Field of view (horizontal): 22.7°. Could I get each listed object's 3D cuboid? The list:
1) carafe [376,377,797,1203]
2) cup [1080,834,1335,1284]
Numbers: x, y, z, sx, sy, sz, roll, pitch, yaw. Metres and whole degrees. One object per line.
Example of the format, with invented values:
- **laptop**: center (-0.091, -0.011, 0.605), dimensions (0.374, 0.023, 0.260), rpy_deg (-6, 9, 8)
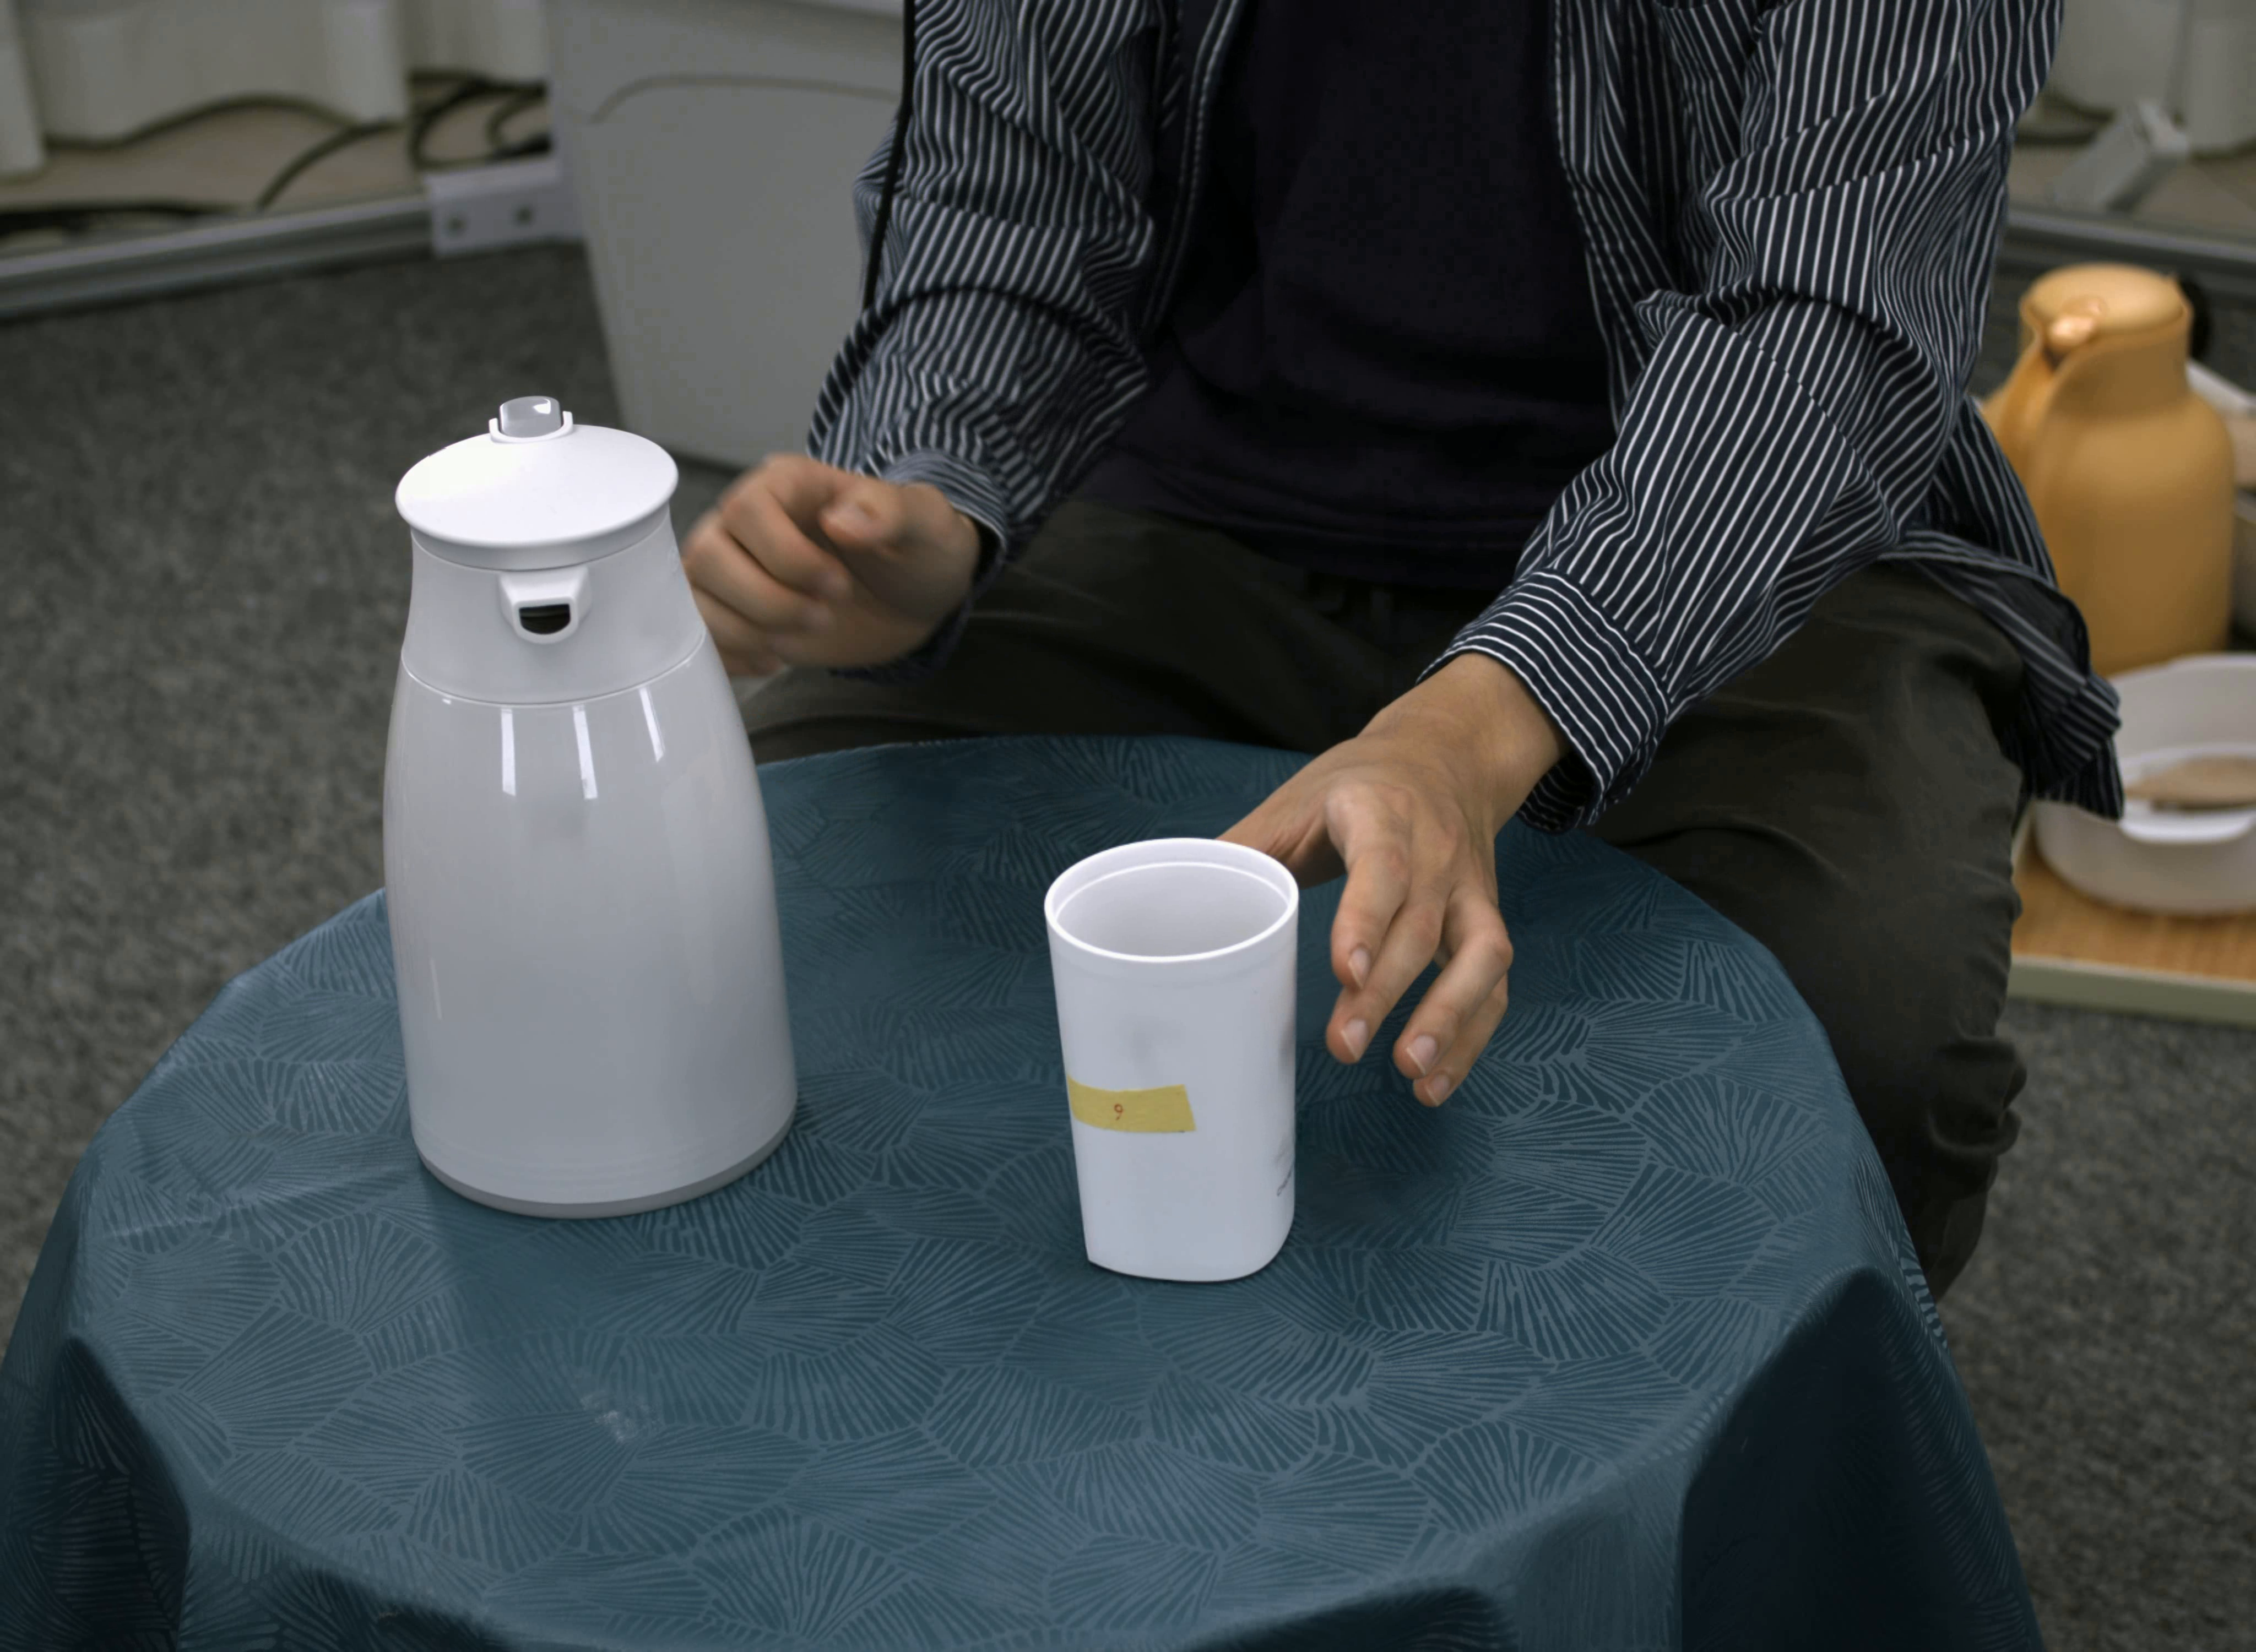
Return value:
- **carafe**: center (-0.191, -0.022, 1.877), dimensions (0.132, 0.246, 0.170), rpy_deg (-10, 29, -9)
- **cup**: center (0.029, 0.077, 1.799), dimensions (0.081, 0.124, 0.083), rpy_deg (-3, 26, 2)
